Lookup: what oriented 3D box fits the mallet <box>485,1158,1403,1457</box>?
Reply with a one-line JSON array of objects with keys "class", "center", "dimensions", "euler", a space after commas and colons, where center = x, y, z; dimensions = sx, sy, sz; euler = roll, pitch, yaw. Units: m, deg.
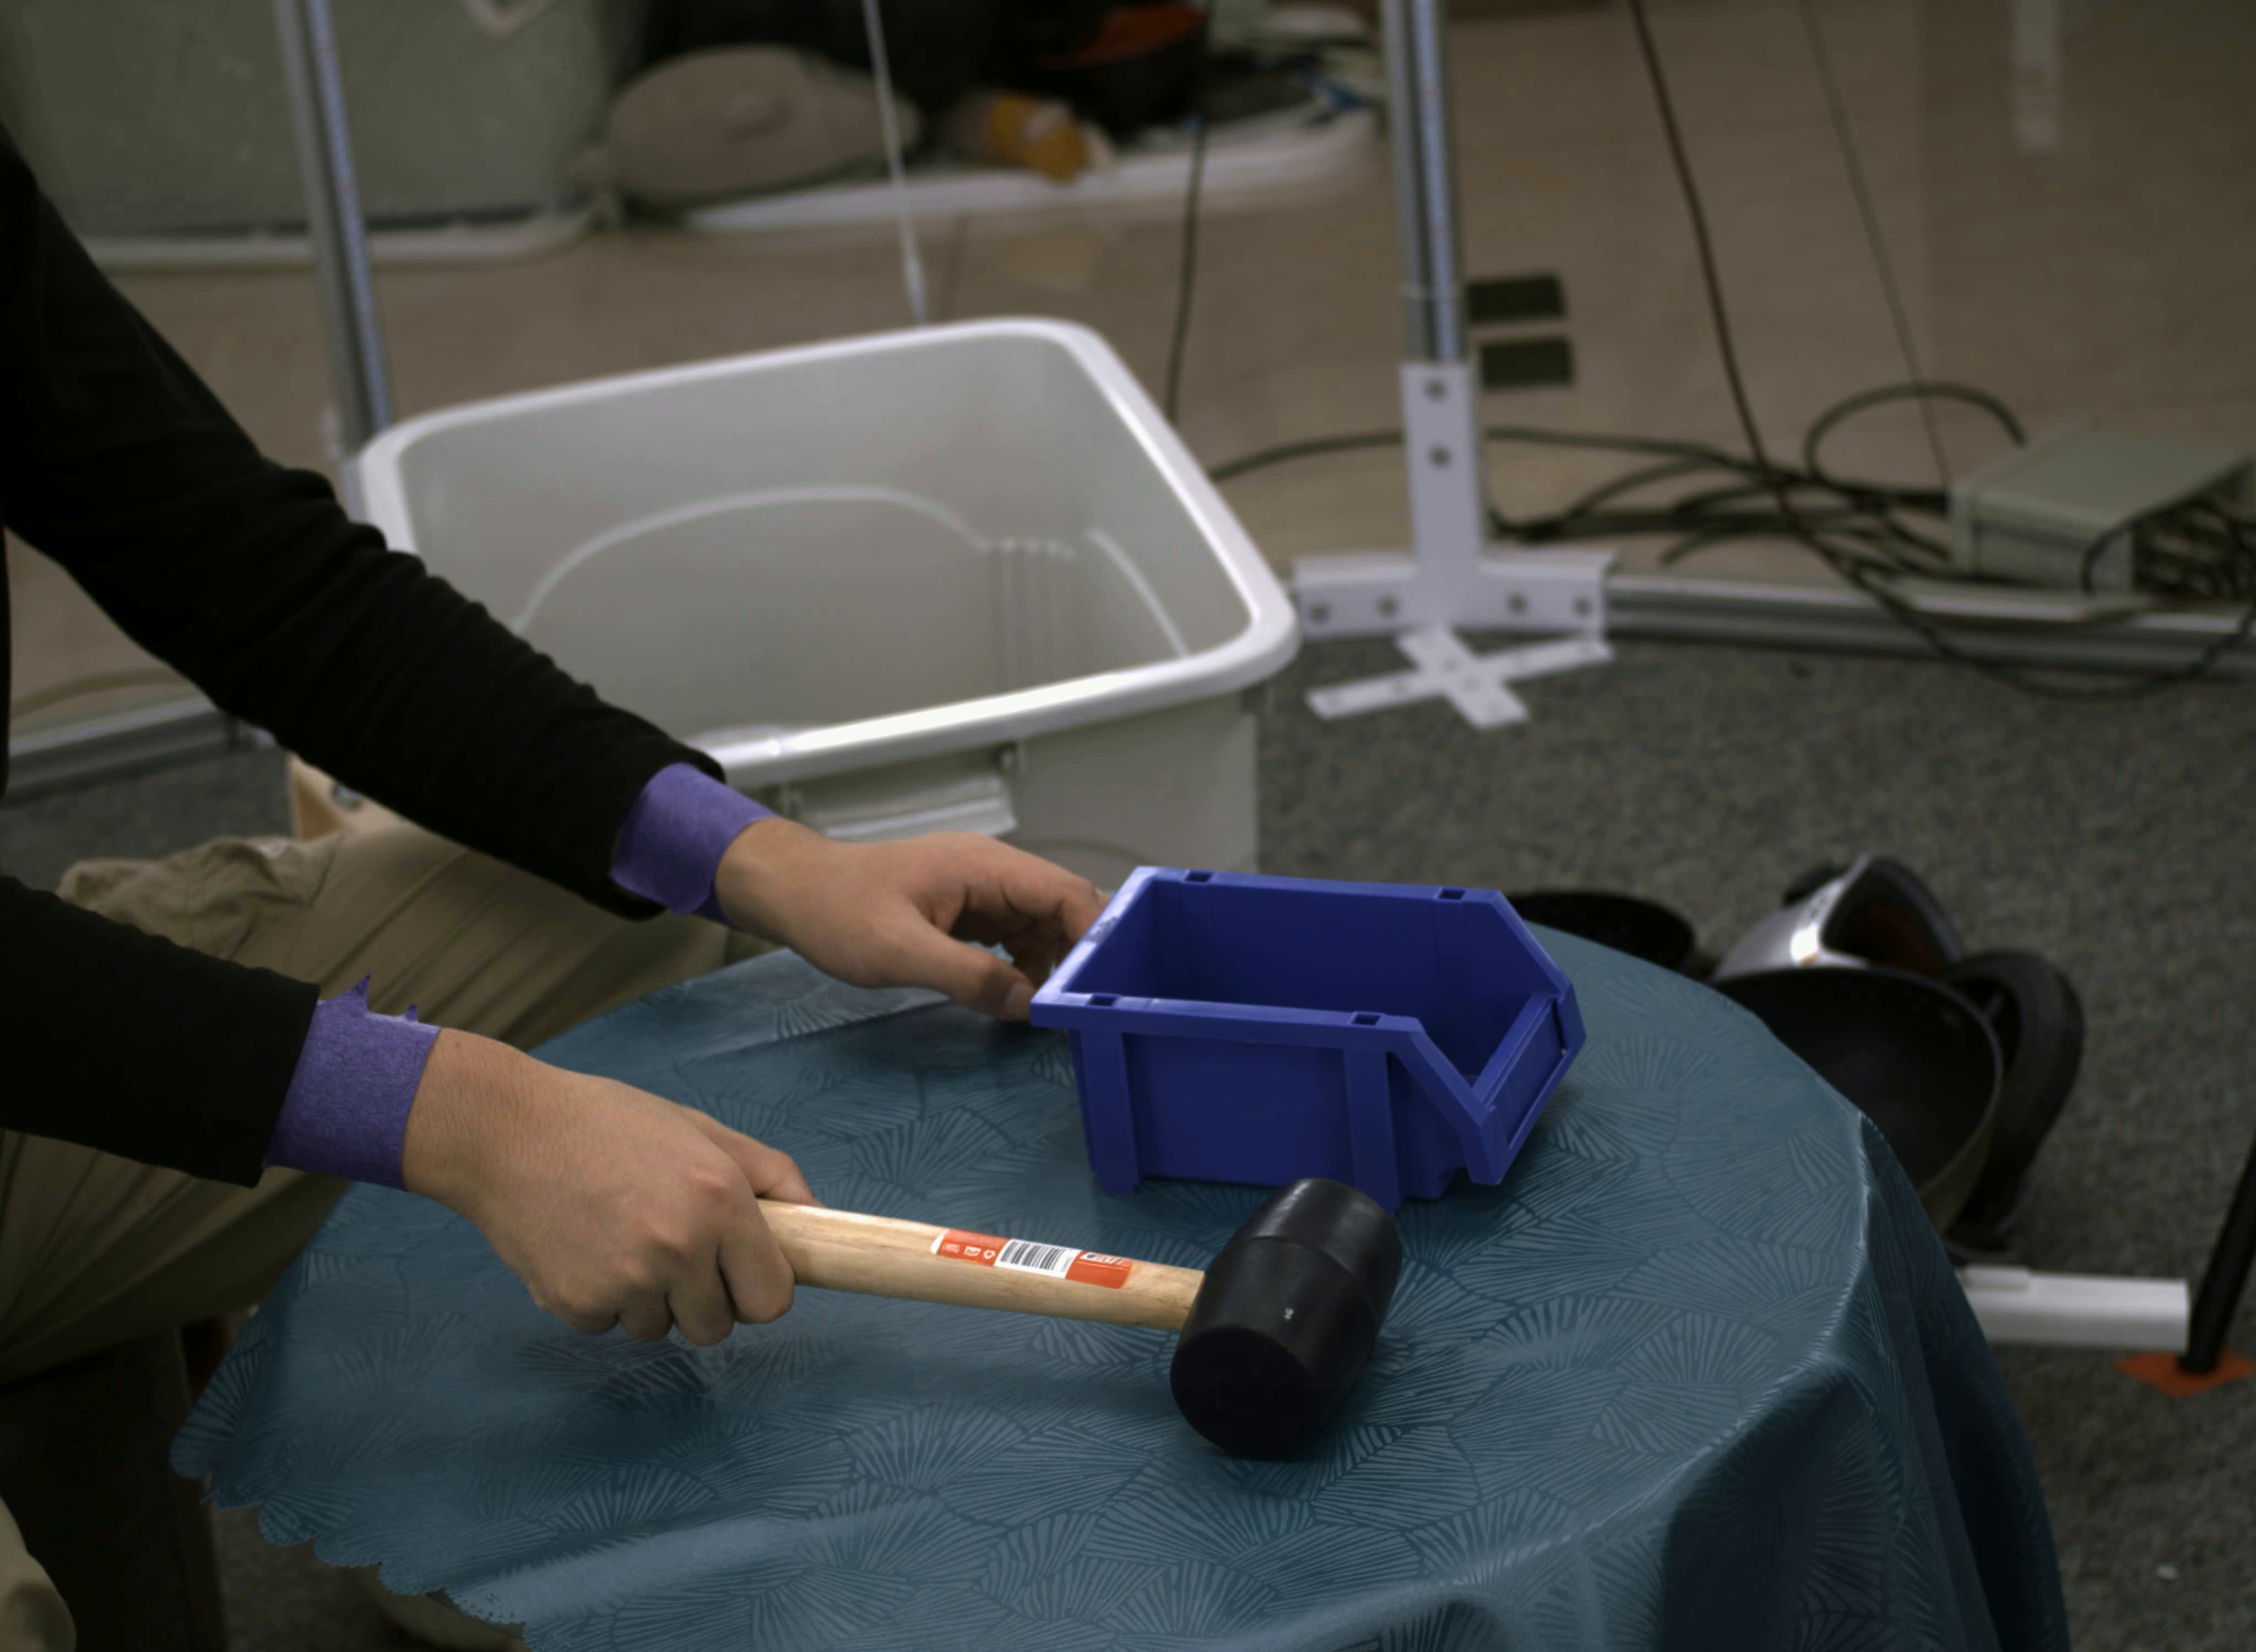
[{"class": "mallet", "center": [-0.073, 0.150, 2.030], "dimensions": [0.337, 0.065, 0.100], "euler": [10, 31, 18]}]

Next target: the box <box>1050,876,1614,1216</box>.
[{"class": "box", "center": [0.080, 0.081, 2.156], "dimensions": [0.179, 0.083, 0.123], "euler": [1, 26, 24]}]
